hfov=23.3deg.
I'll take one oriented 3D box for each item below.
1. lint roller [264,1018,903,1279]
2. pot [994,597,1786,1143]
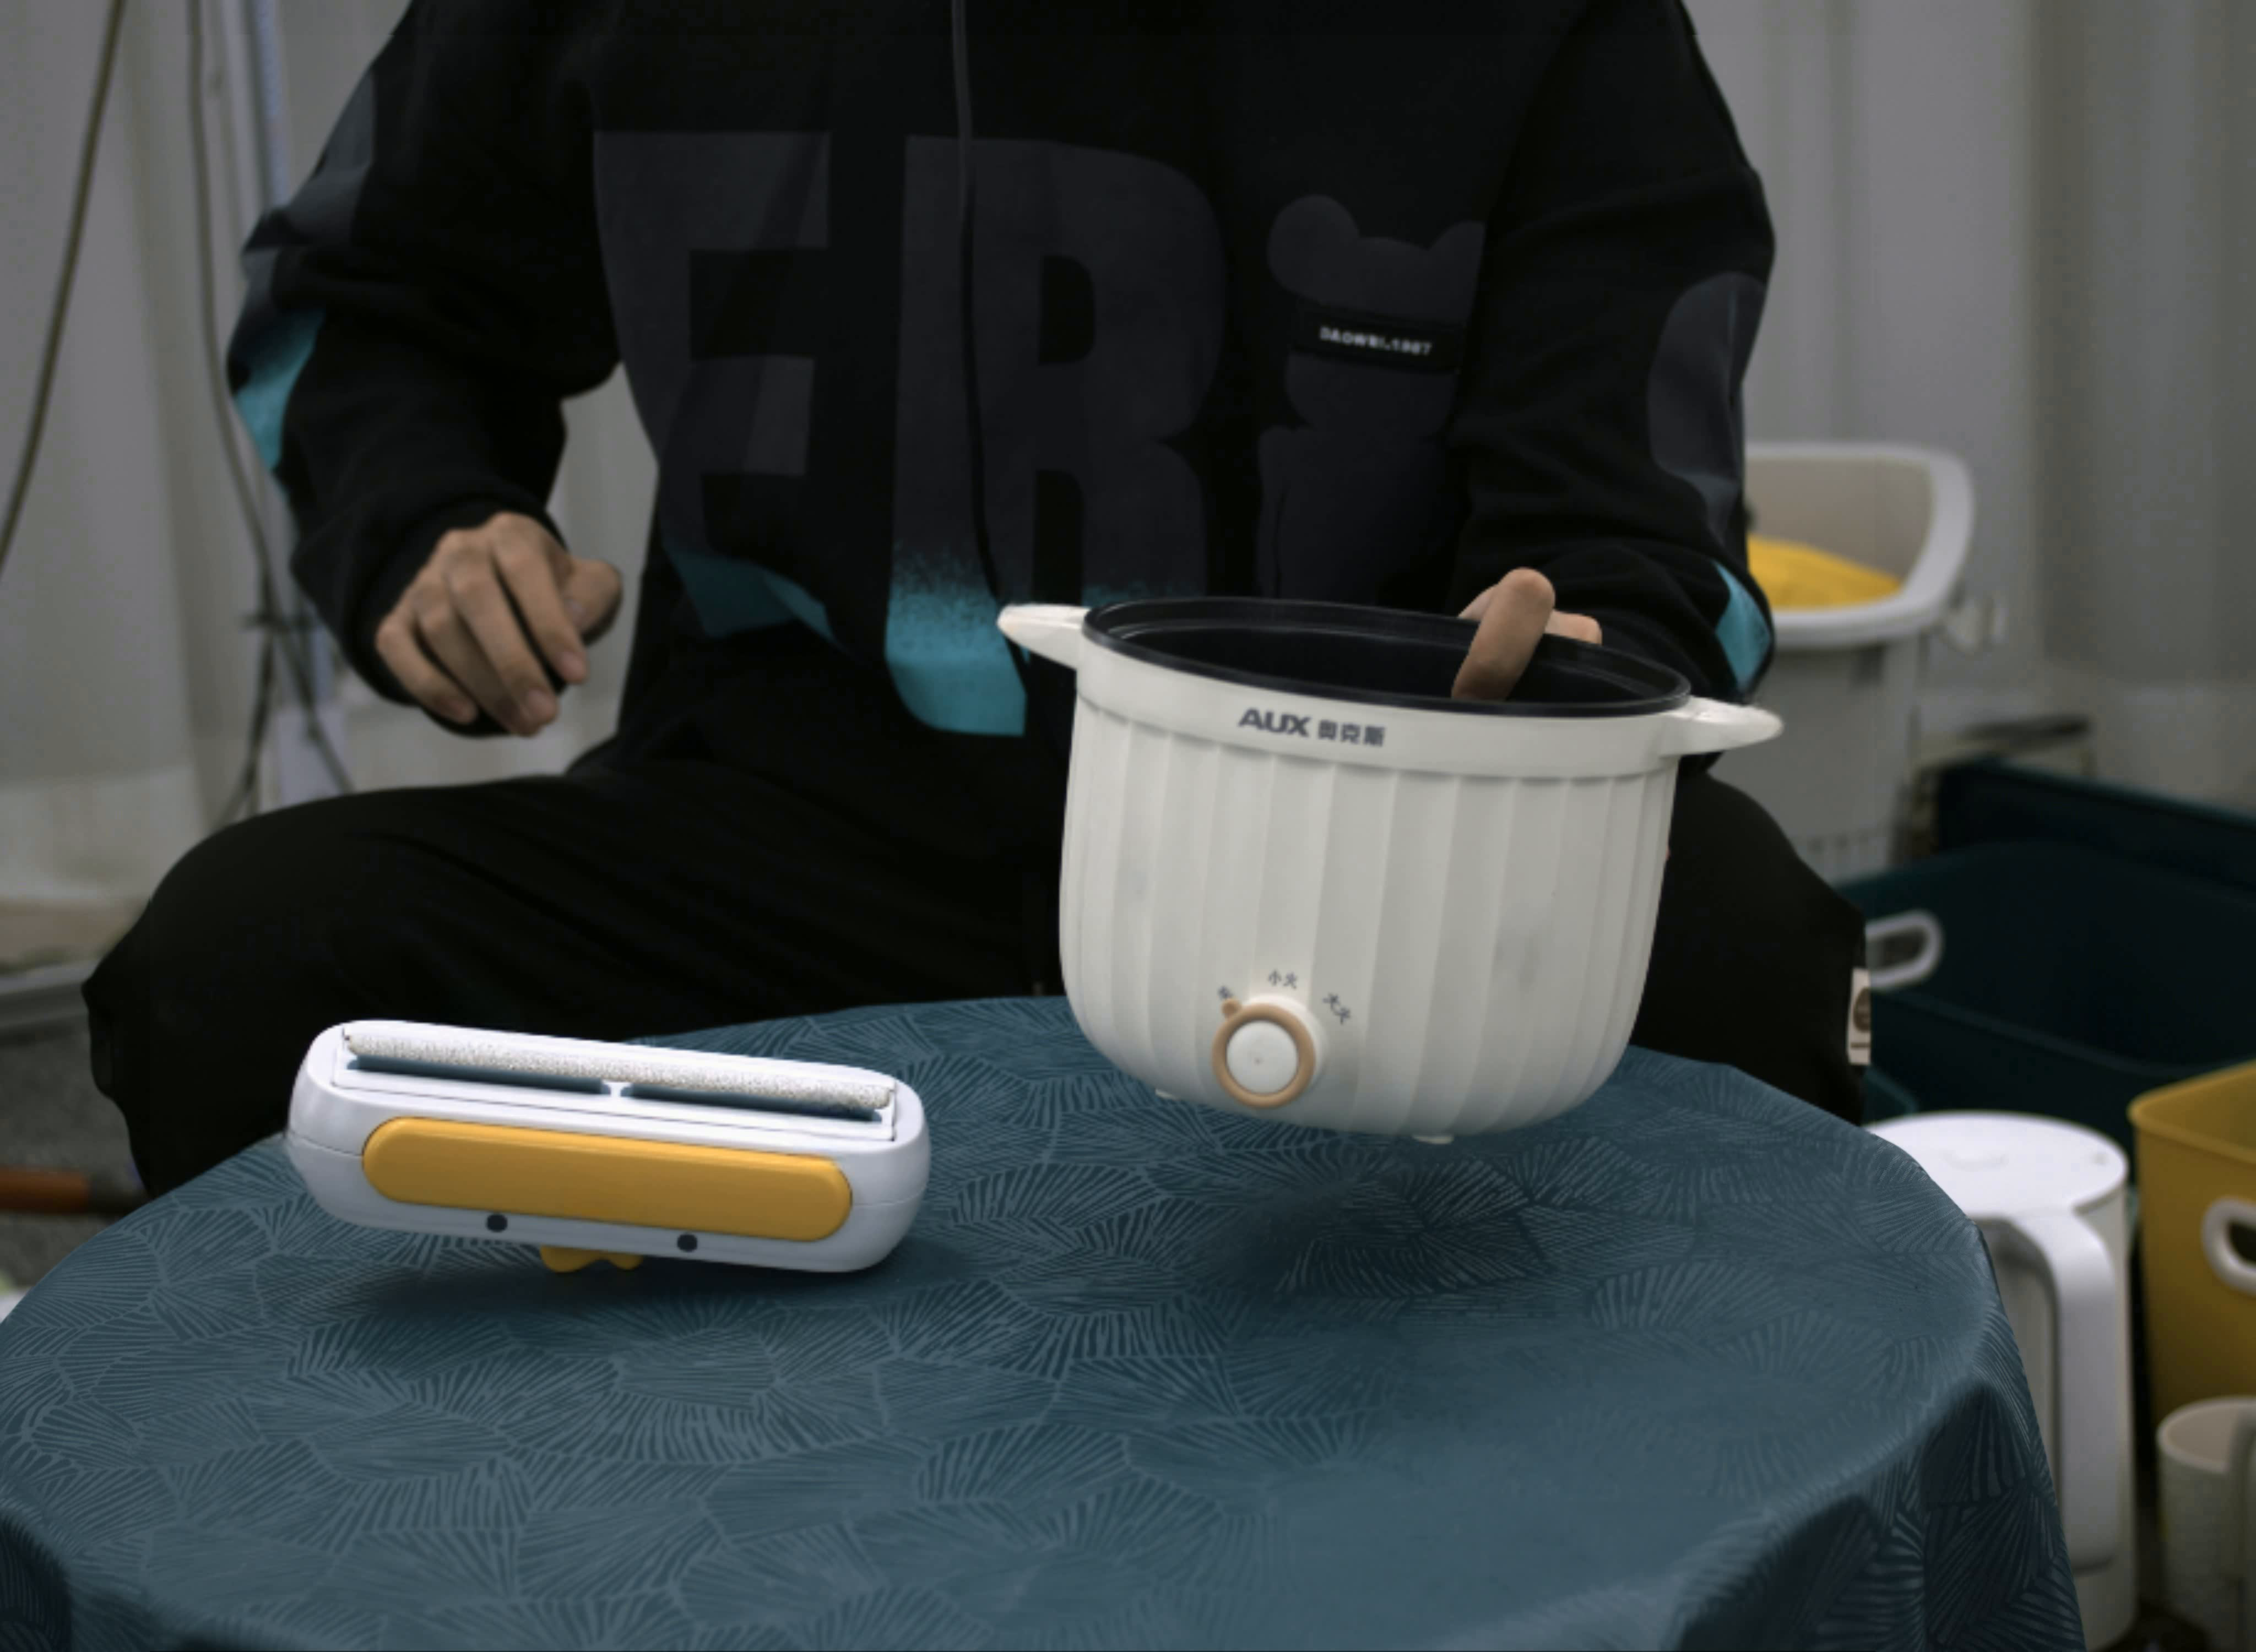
[{"bbox_3d":[-0.164,0.090,1.711,0.192,0.074,0.193,3,13,0],"label":"lint roller"},{"bbox_3d":[0.069,0.013,1.621,0.240,0.142,0.190,7,7,15],"label":"pot"}]
